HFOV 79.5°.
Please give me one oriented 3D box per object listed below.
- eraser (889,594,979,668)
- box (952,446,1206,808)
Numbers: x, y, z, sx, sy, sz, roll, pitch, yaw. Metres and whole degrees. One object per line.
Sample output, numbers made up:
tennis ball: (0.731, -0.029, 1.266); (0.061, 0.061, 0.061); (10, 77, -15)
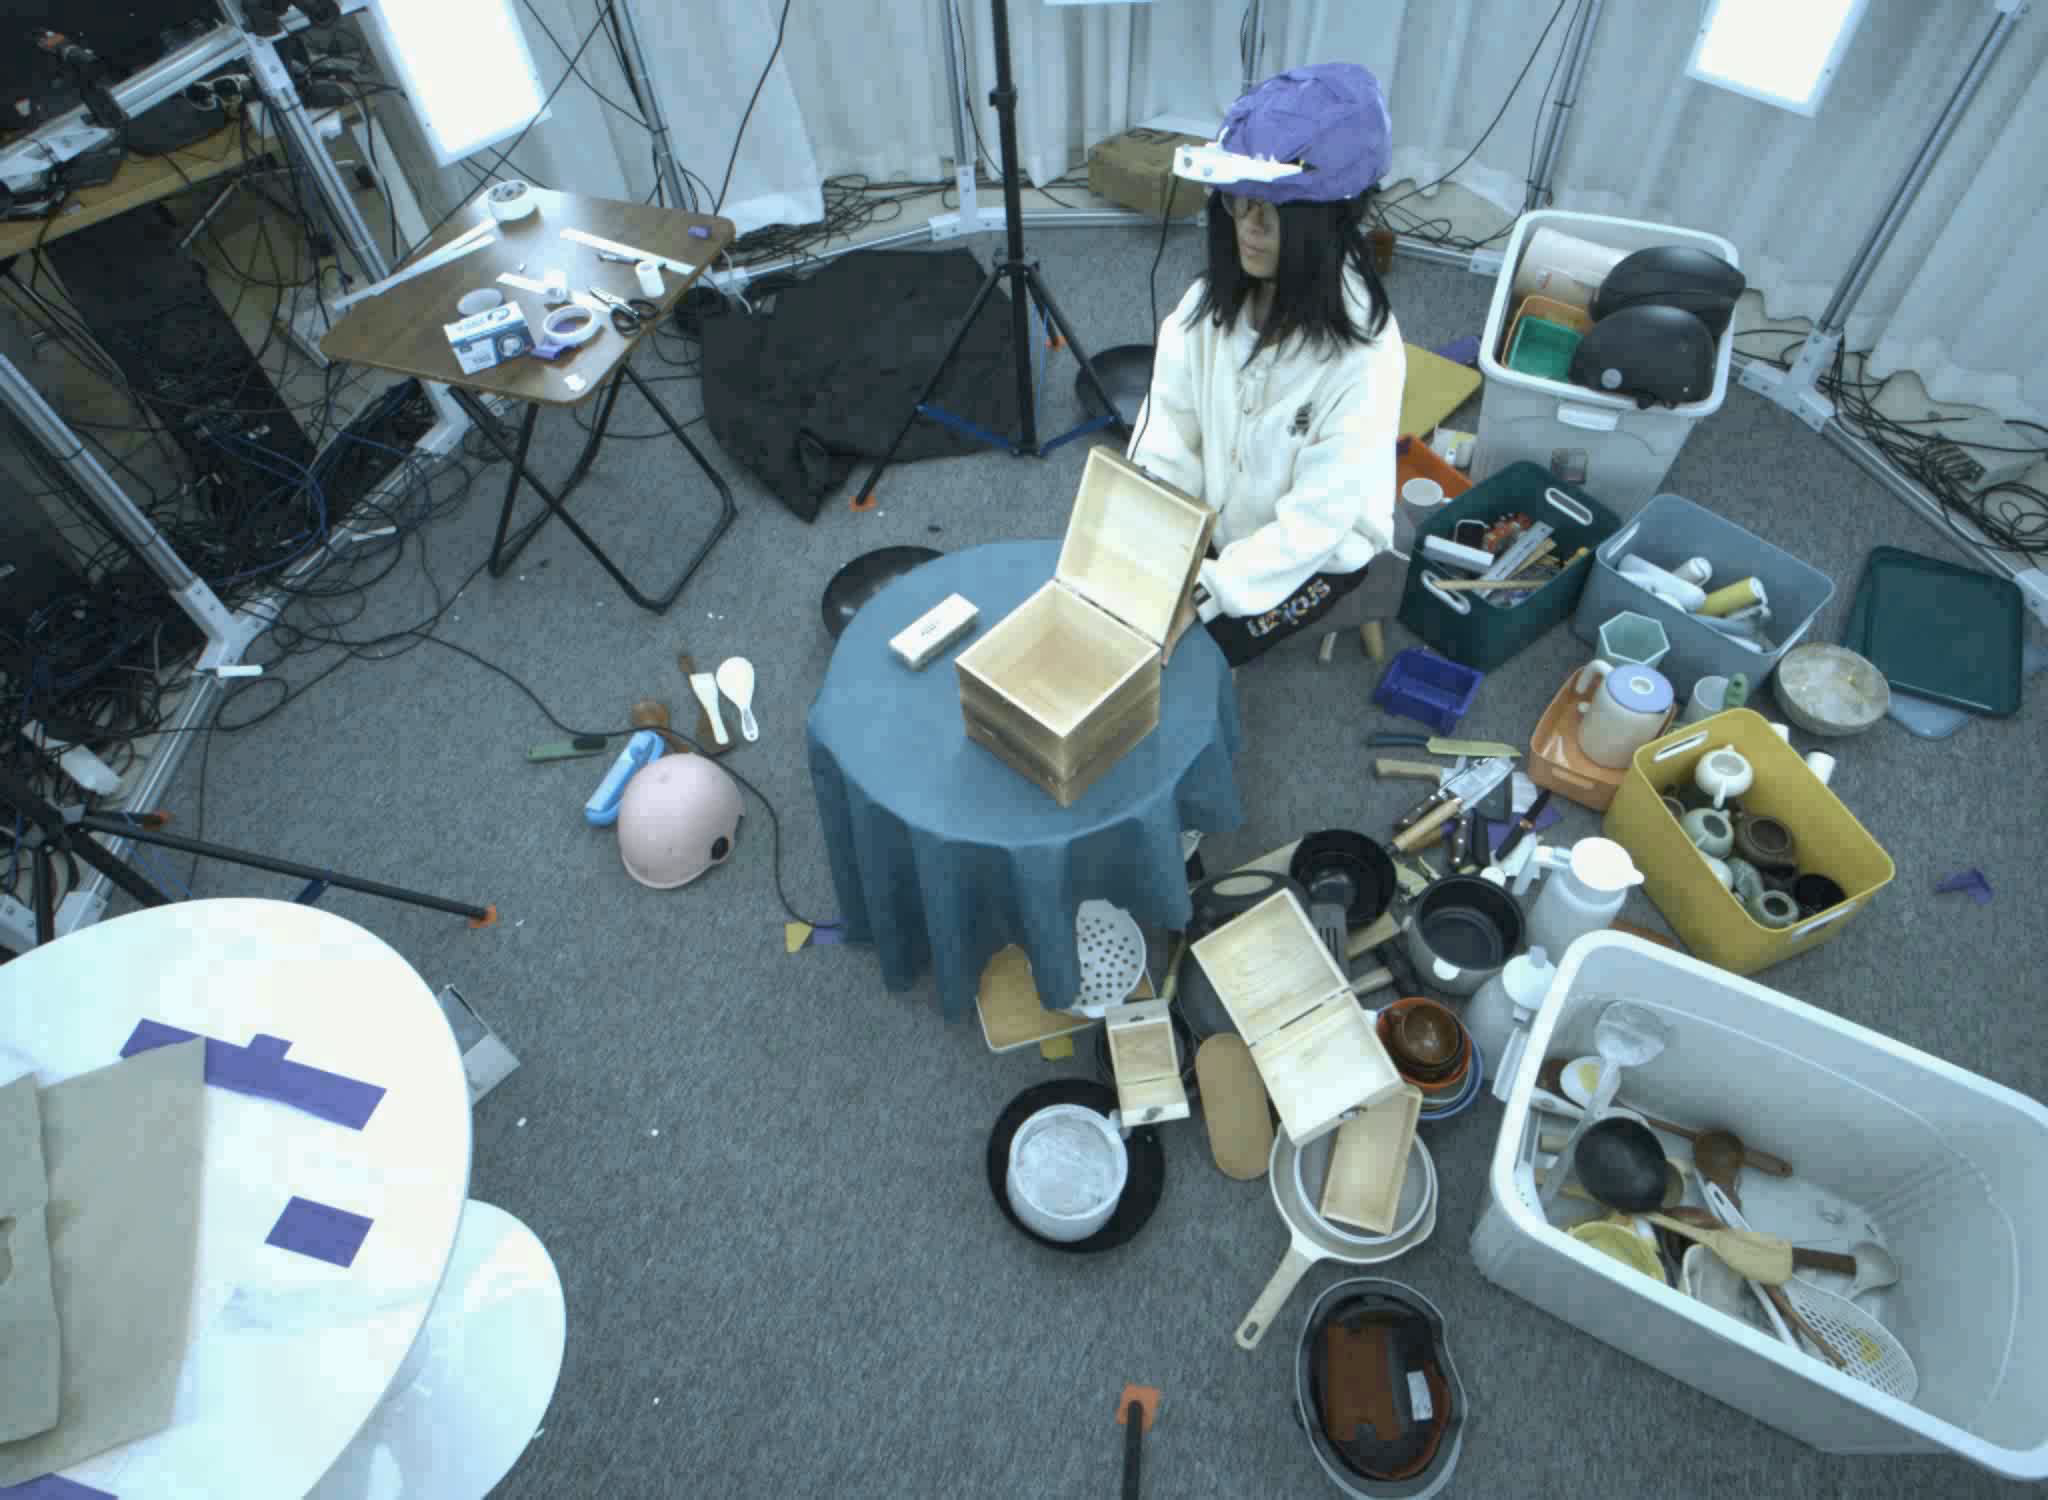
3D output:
eraser: (-0.139, -0.185, 1.906); (0.140, 0.029, 0.056); (-38, 58, -23)
box: (0.076, -0.170, 1.681); (0.205, 0.380, 0.324); (35, 64, 26)
